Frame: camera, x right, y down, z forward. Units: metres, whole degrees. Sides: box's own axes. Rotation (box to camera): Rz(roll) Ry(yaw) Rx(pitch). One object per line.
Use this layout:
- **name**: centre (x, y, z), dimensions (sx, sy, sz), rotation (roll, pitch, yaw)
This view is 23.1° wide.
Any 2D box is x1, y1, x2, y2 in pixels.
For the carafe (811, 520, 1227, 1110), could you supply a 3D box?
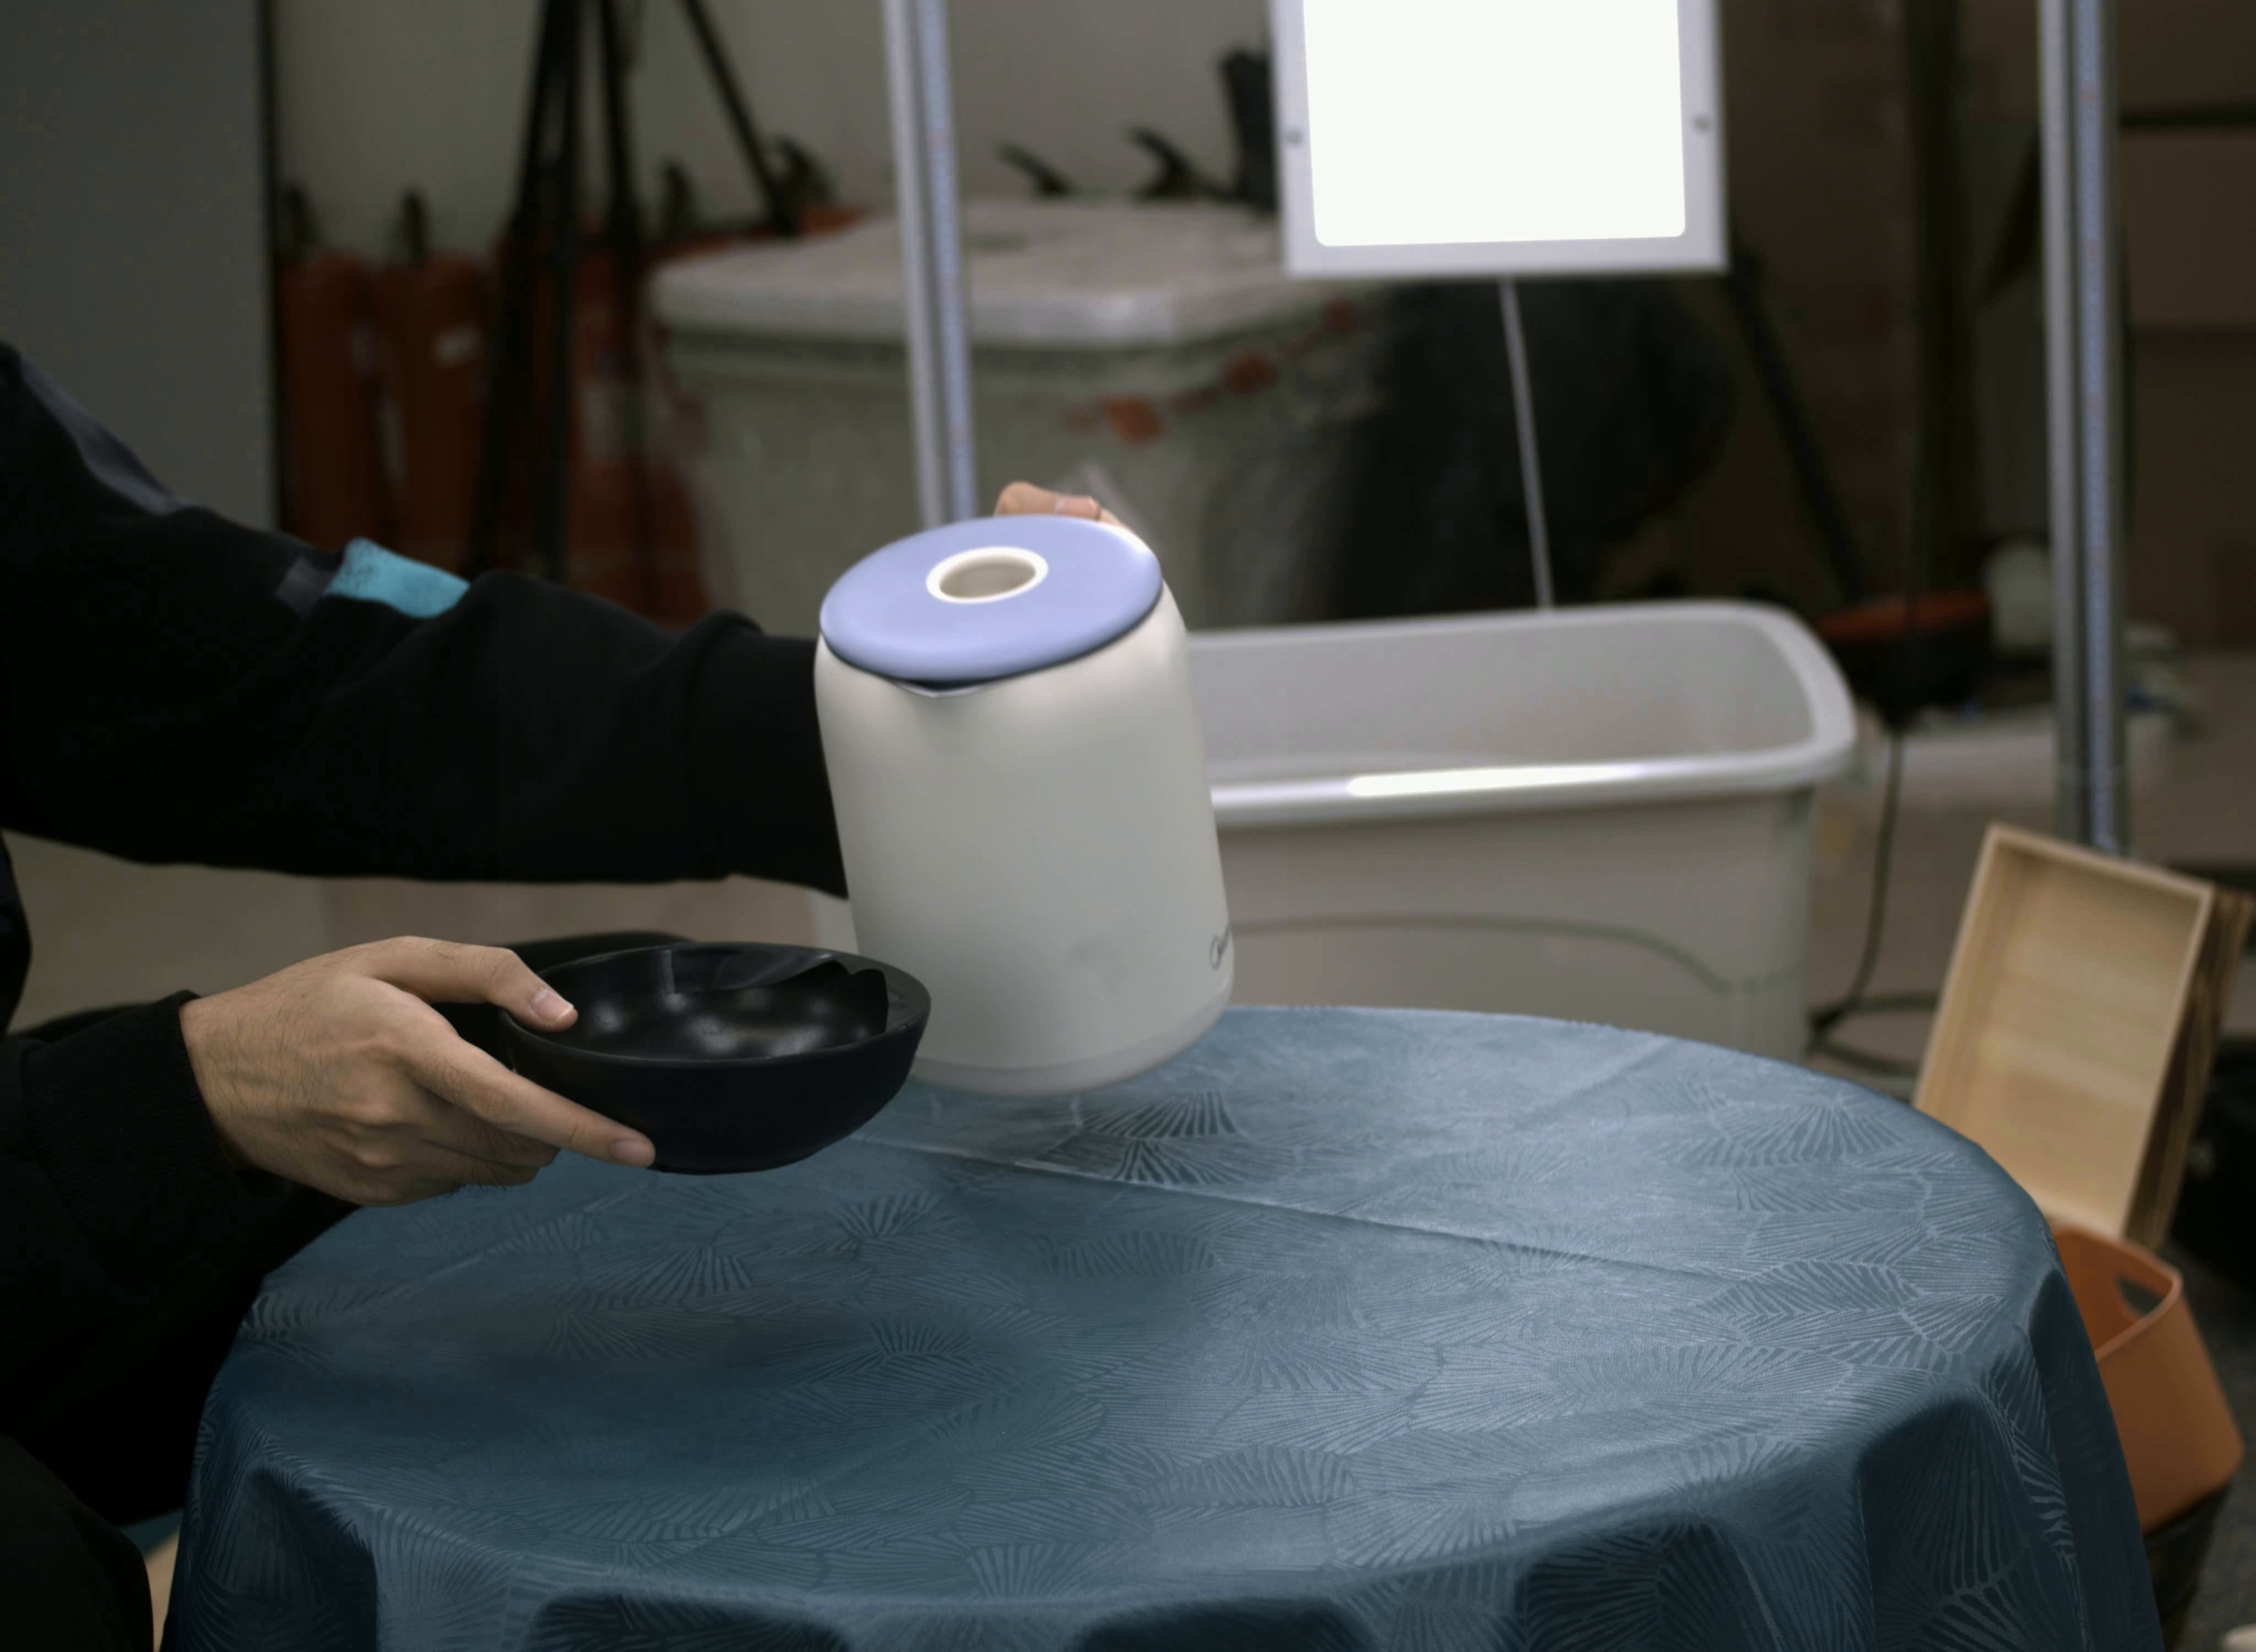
- **carafe**: centre (-0.033, -0.015, 1.934), dimensions (0.133, 0.183, 0.189), rotation (0, 26, 14)

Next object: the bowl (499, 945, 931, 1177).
- **bowl**: centre (-0.131, 0.079, 1.772), dimensions (0.139, 0.050, 0.140), rotation (-3, 13, -1)
